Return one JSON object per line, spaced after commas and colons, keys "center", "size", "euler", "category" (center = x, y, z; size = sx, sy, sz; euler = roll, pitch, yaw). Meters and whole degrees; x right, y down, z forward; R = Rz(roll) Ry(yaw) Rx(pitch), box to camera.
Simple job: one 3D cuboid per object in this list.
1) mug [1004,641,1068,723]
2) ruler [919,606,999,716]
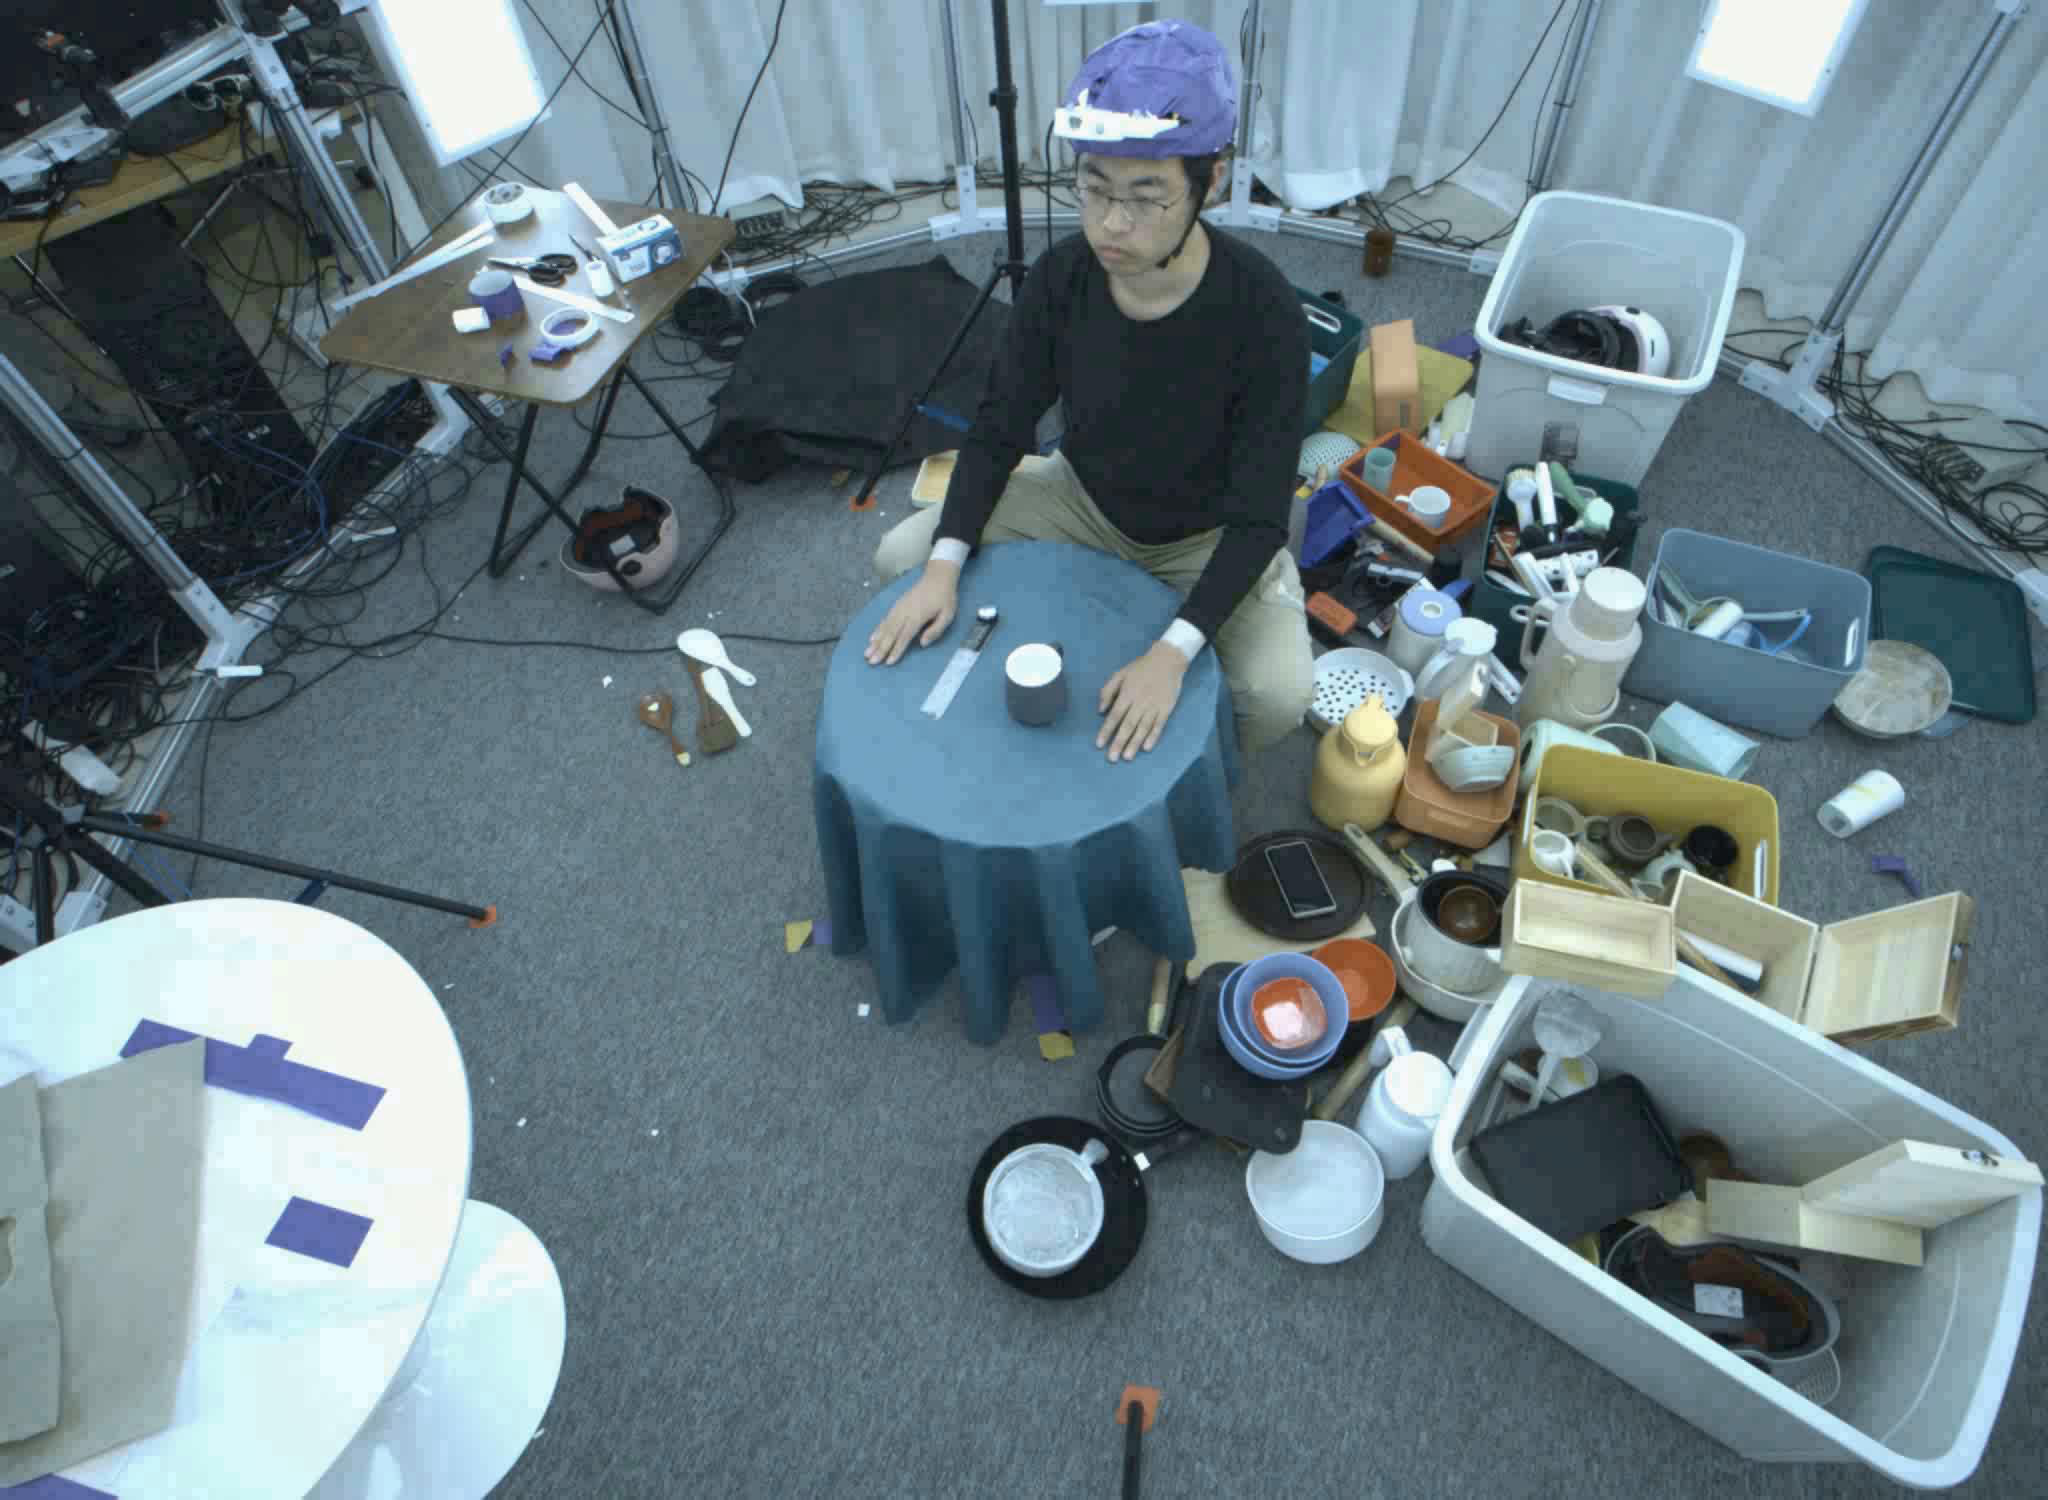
{"center": [0.024, -0.108, 1.806], "size": [0.092, 0.091, 0.123], "euler": [24, 60, 18], "category": "mug"}
{"center": [-0.097, -0.140, 1.877], "size": [0.038, 0.024, 0.218], "euler": [15, 55, 21], "category": "ruler"}
